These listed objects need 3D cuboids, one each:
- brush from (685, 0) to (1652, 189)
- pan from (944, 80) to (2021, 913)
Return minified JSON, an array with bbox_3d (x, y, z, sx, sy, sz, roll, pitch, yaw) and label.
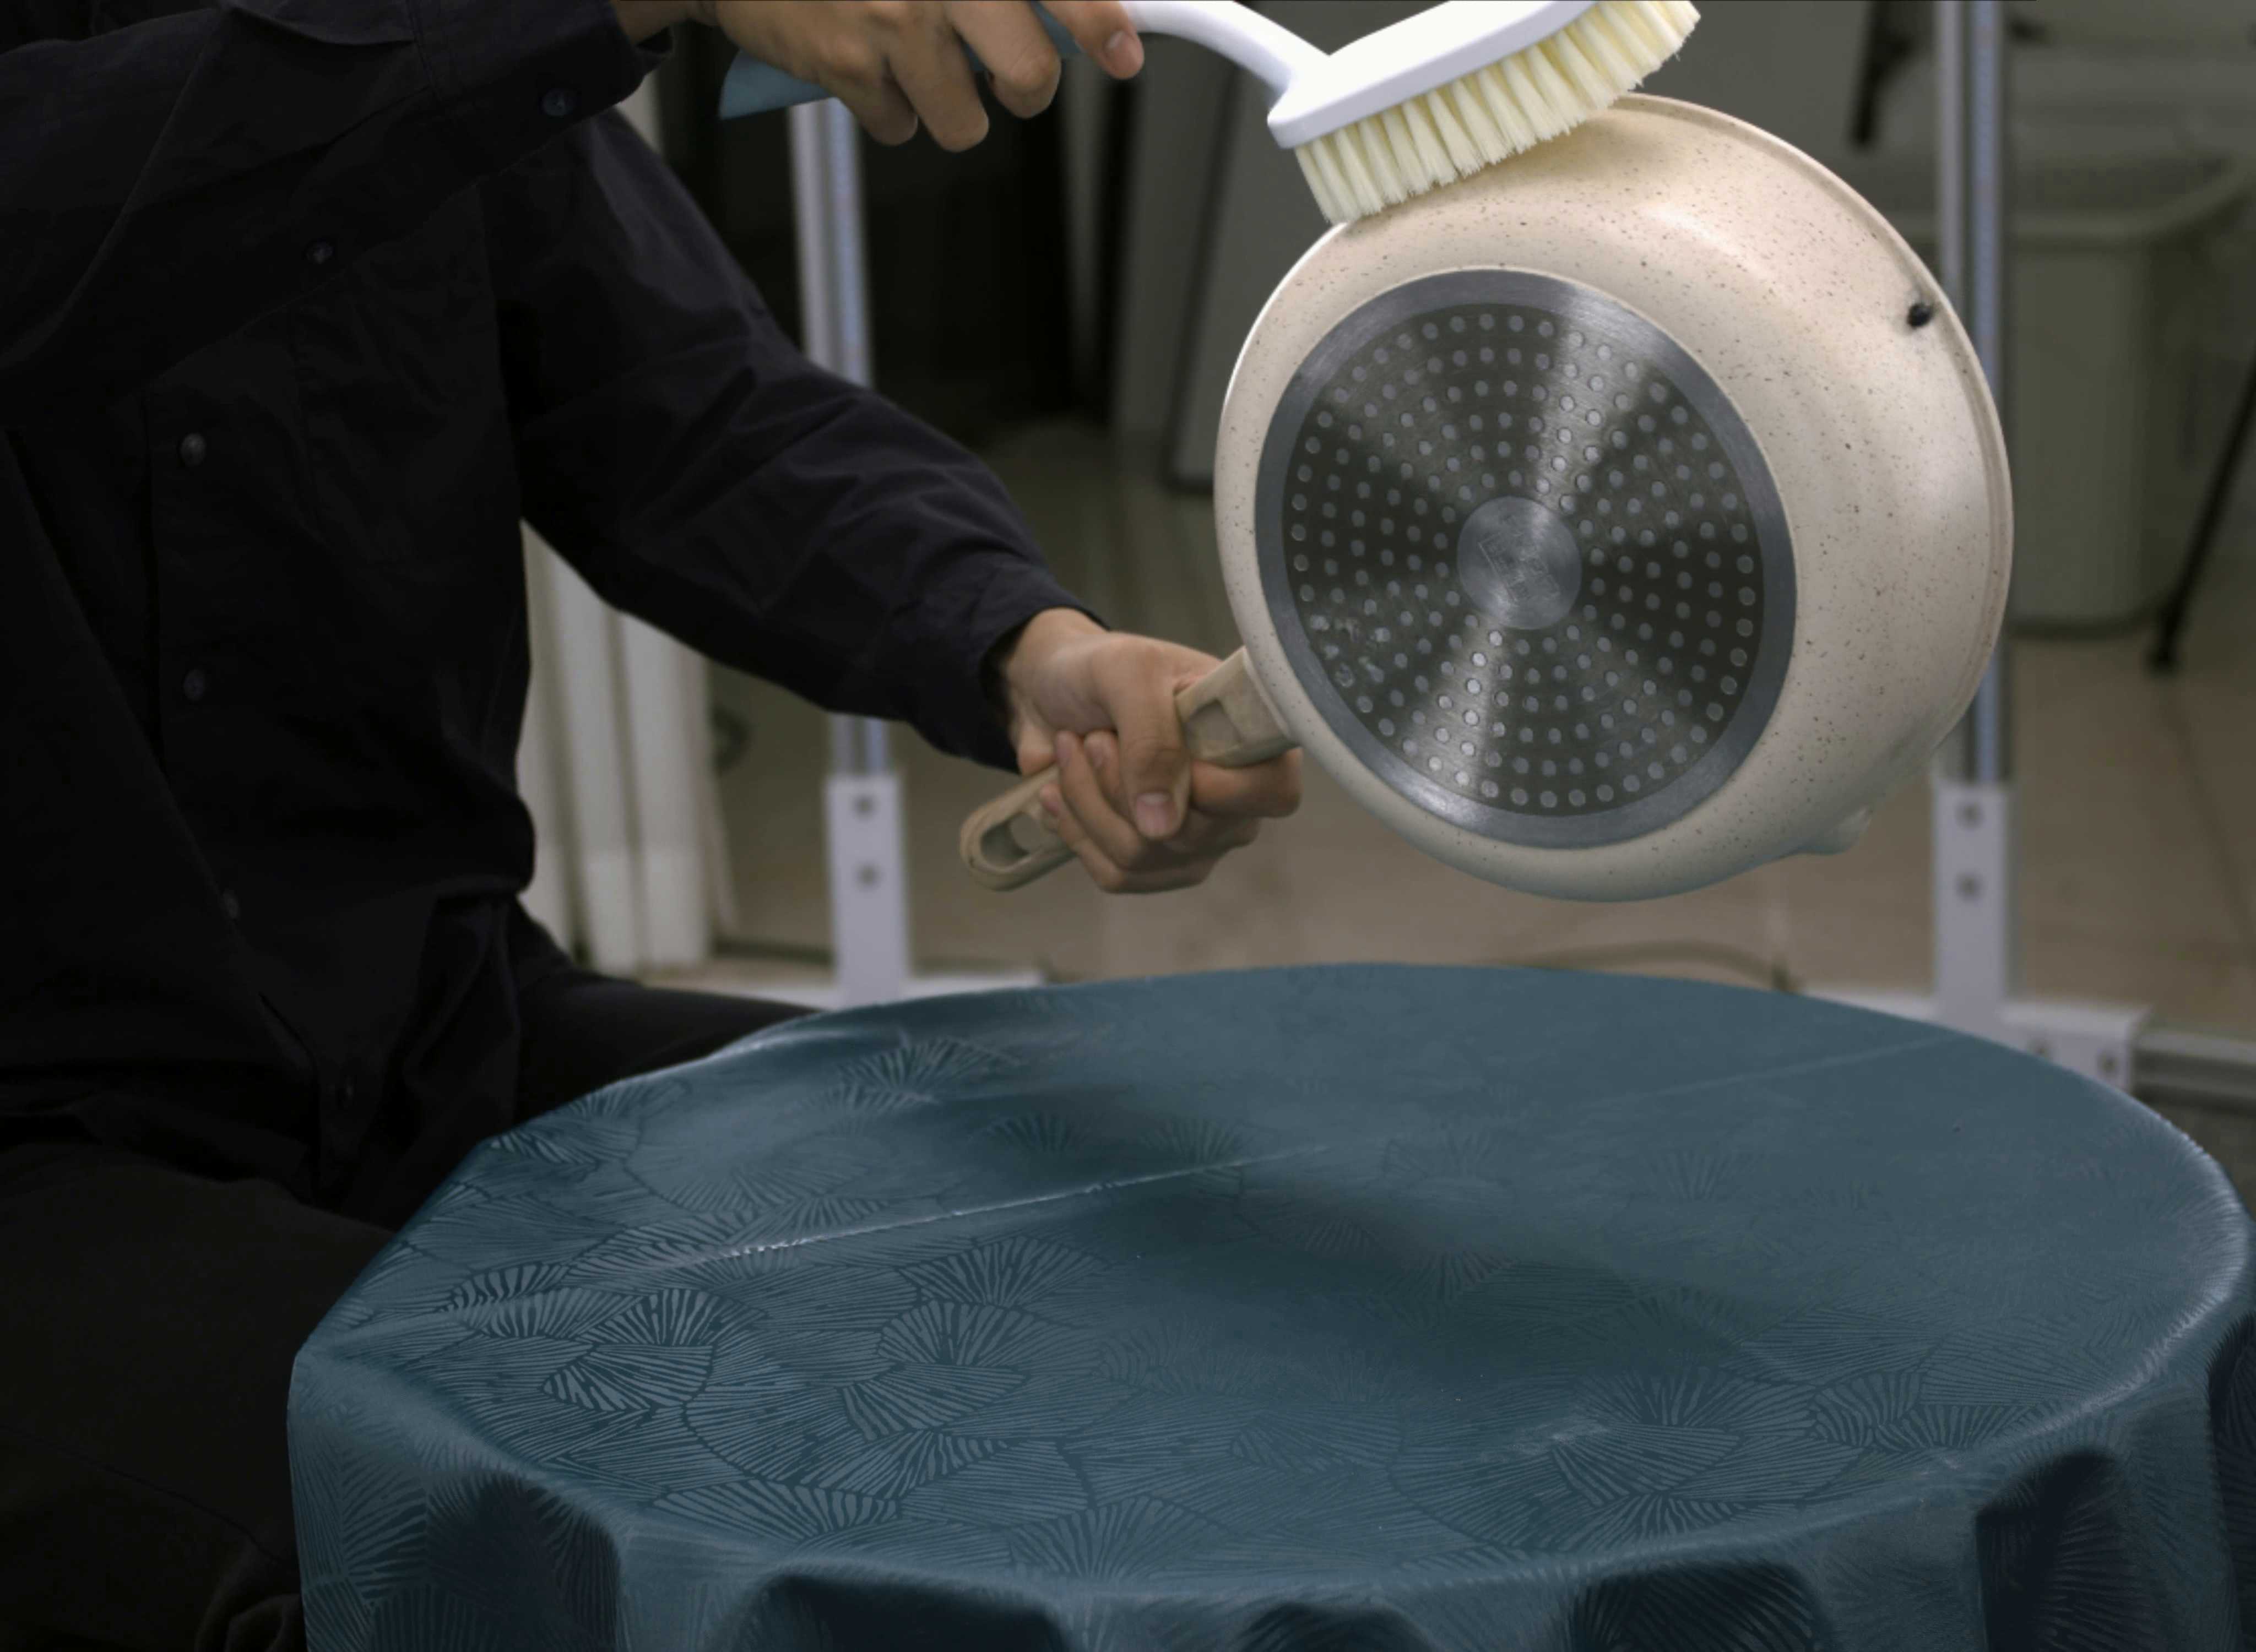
[{"bbox_3d":[0.015,-0.222,1.640,0.326,0.085,0.082,-7,-14,28],"label":"brush"},{"bbox_3d":[0.077,-0.057,1.687,0.438,0.265,0.100,-29,2,37],"label":"pan"}]
